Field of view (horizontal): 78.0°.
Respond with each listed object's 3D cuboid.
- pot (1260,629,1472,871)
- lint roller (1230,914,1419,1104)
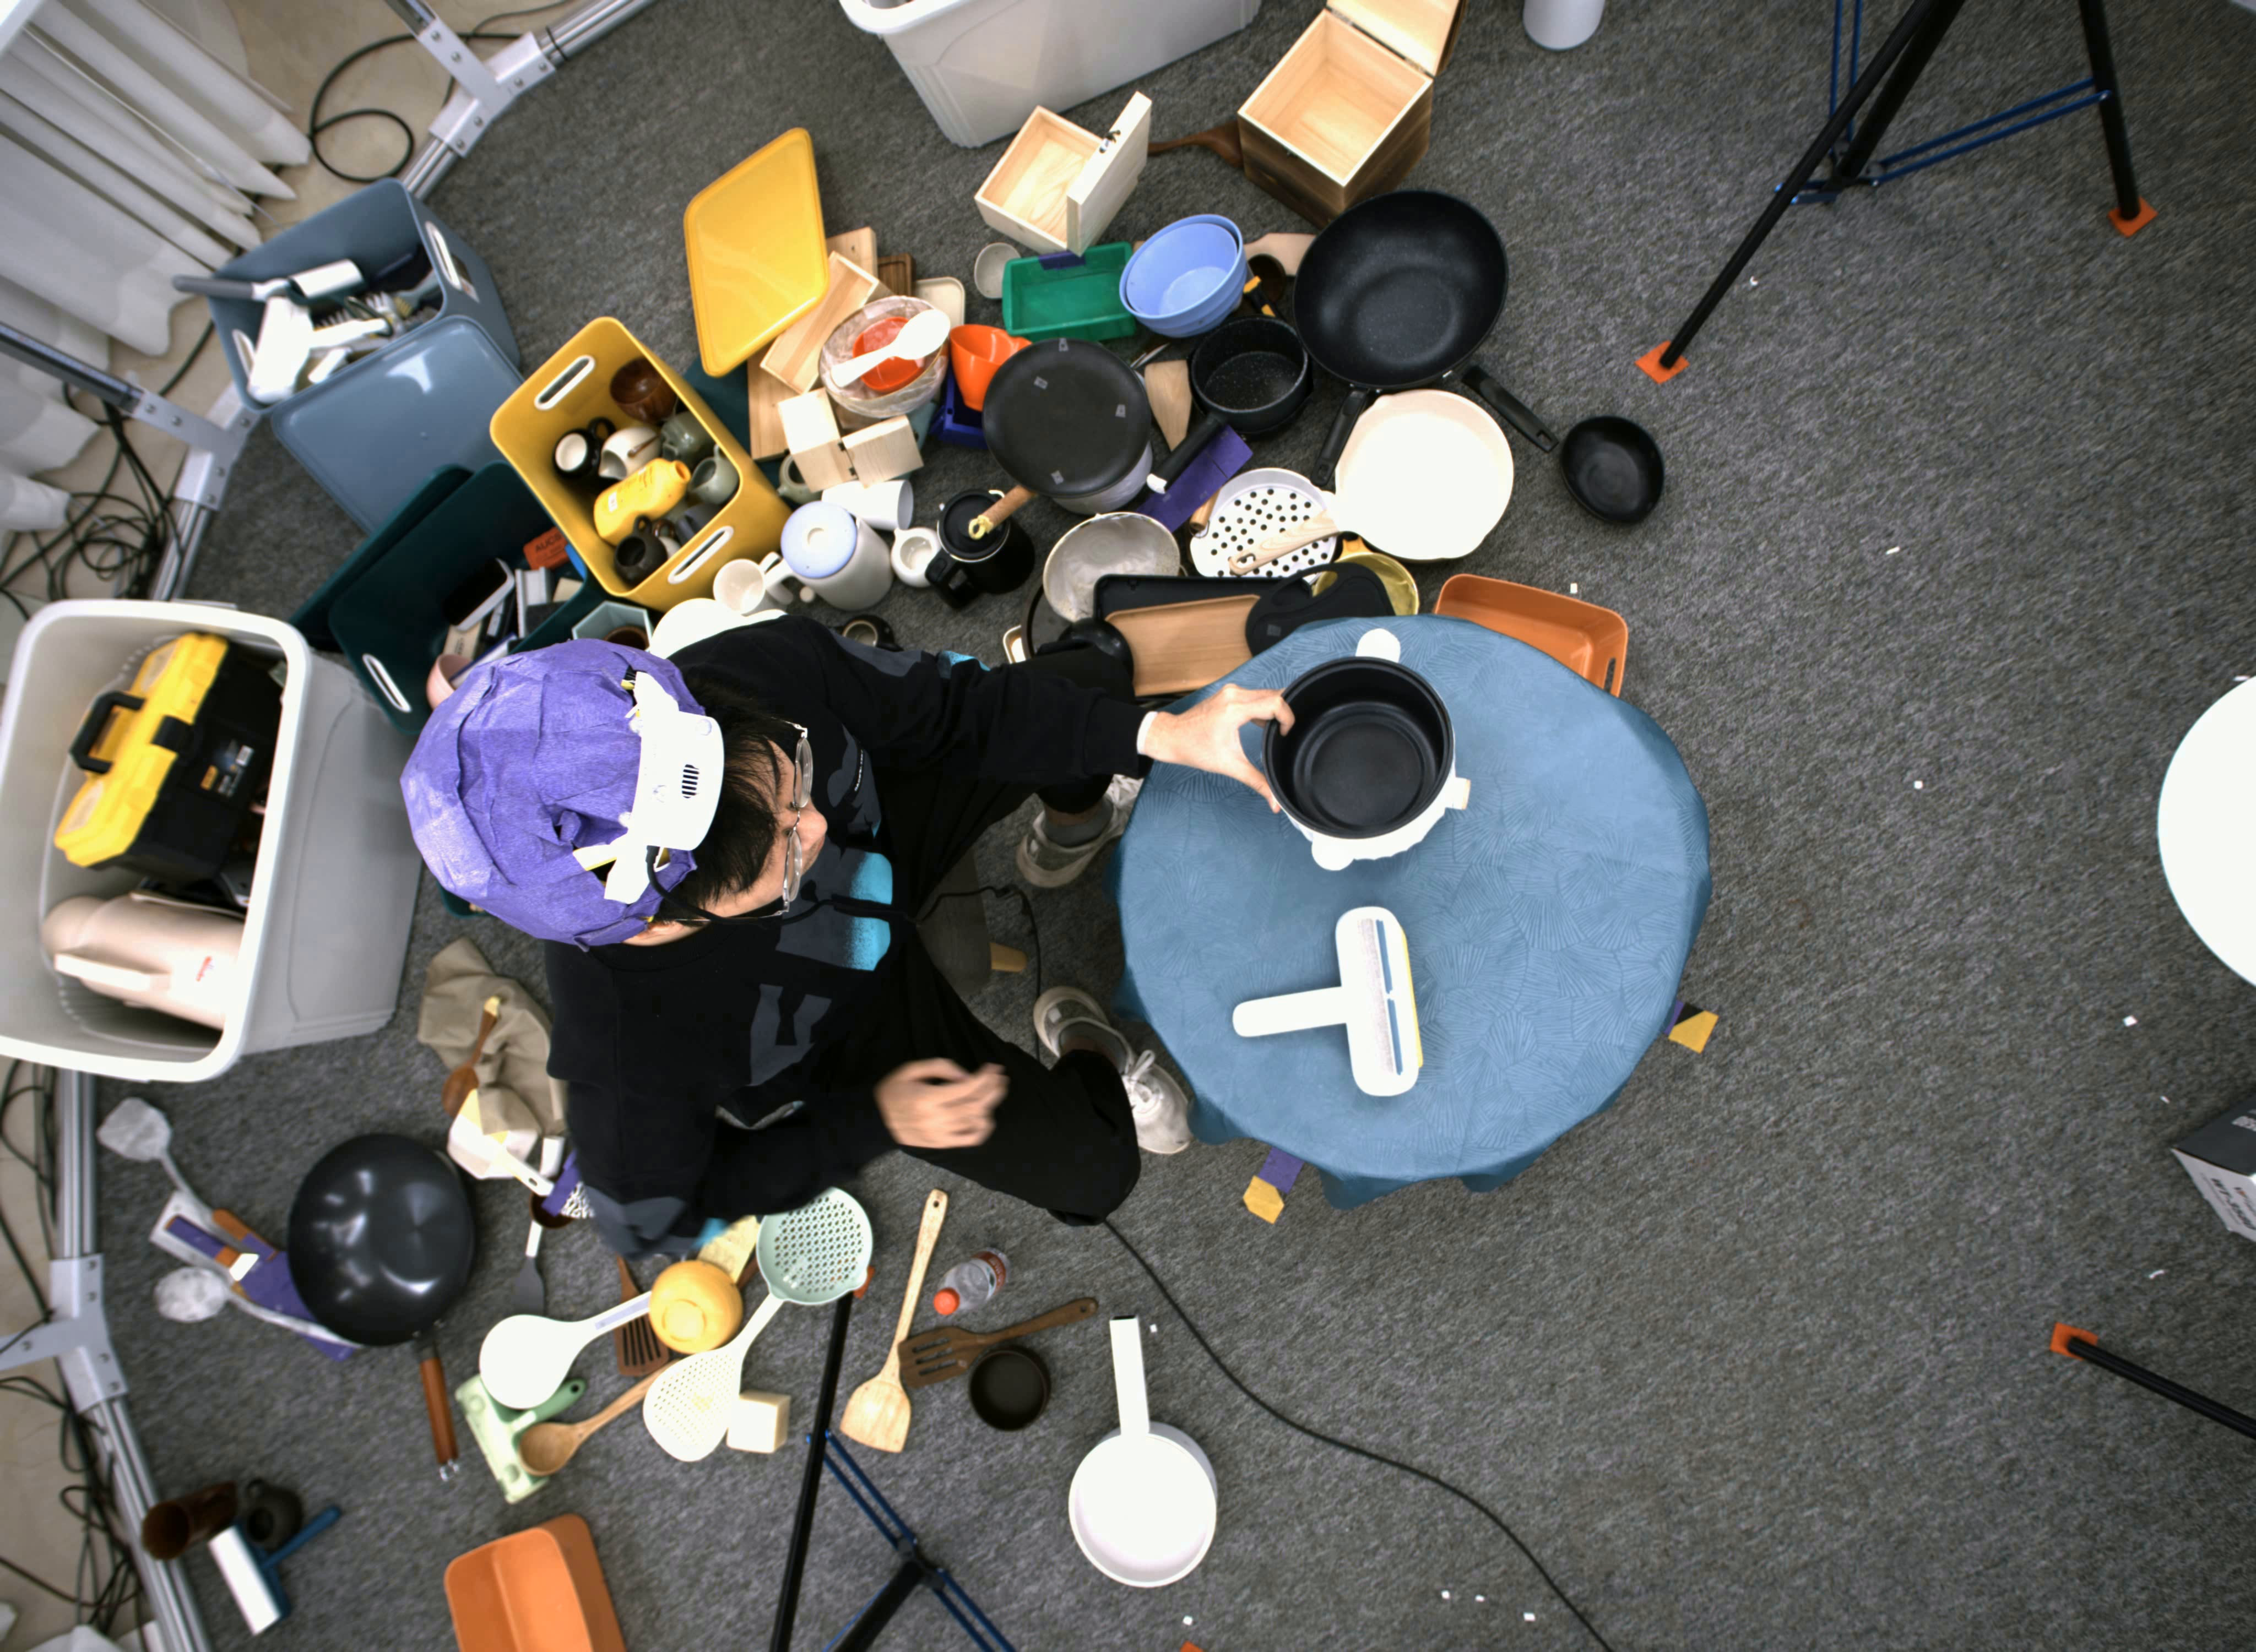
[{"bbox_3d":[0.236,-0.060,1.347,0.191,0.143,0.238,10,82,21],"label":"pot"},{"bbox_3d":[0.198,0.190,1.428,0.193,0.074,0.191,-5,80,12],"label":"lint roller"}]
